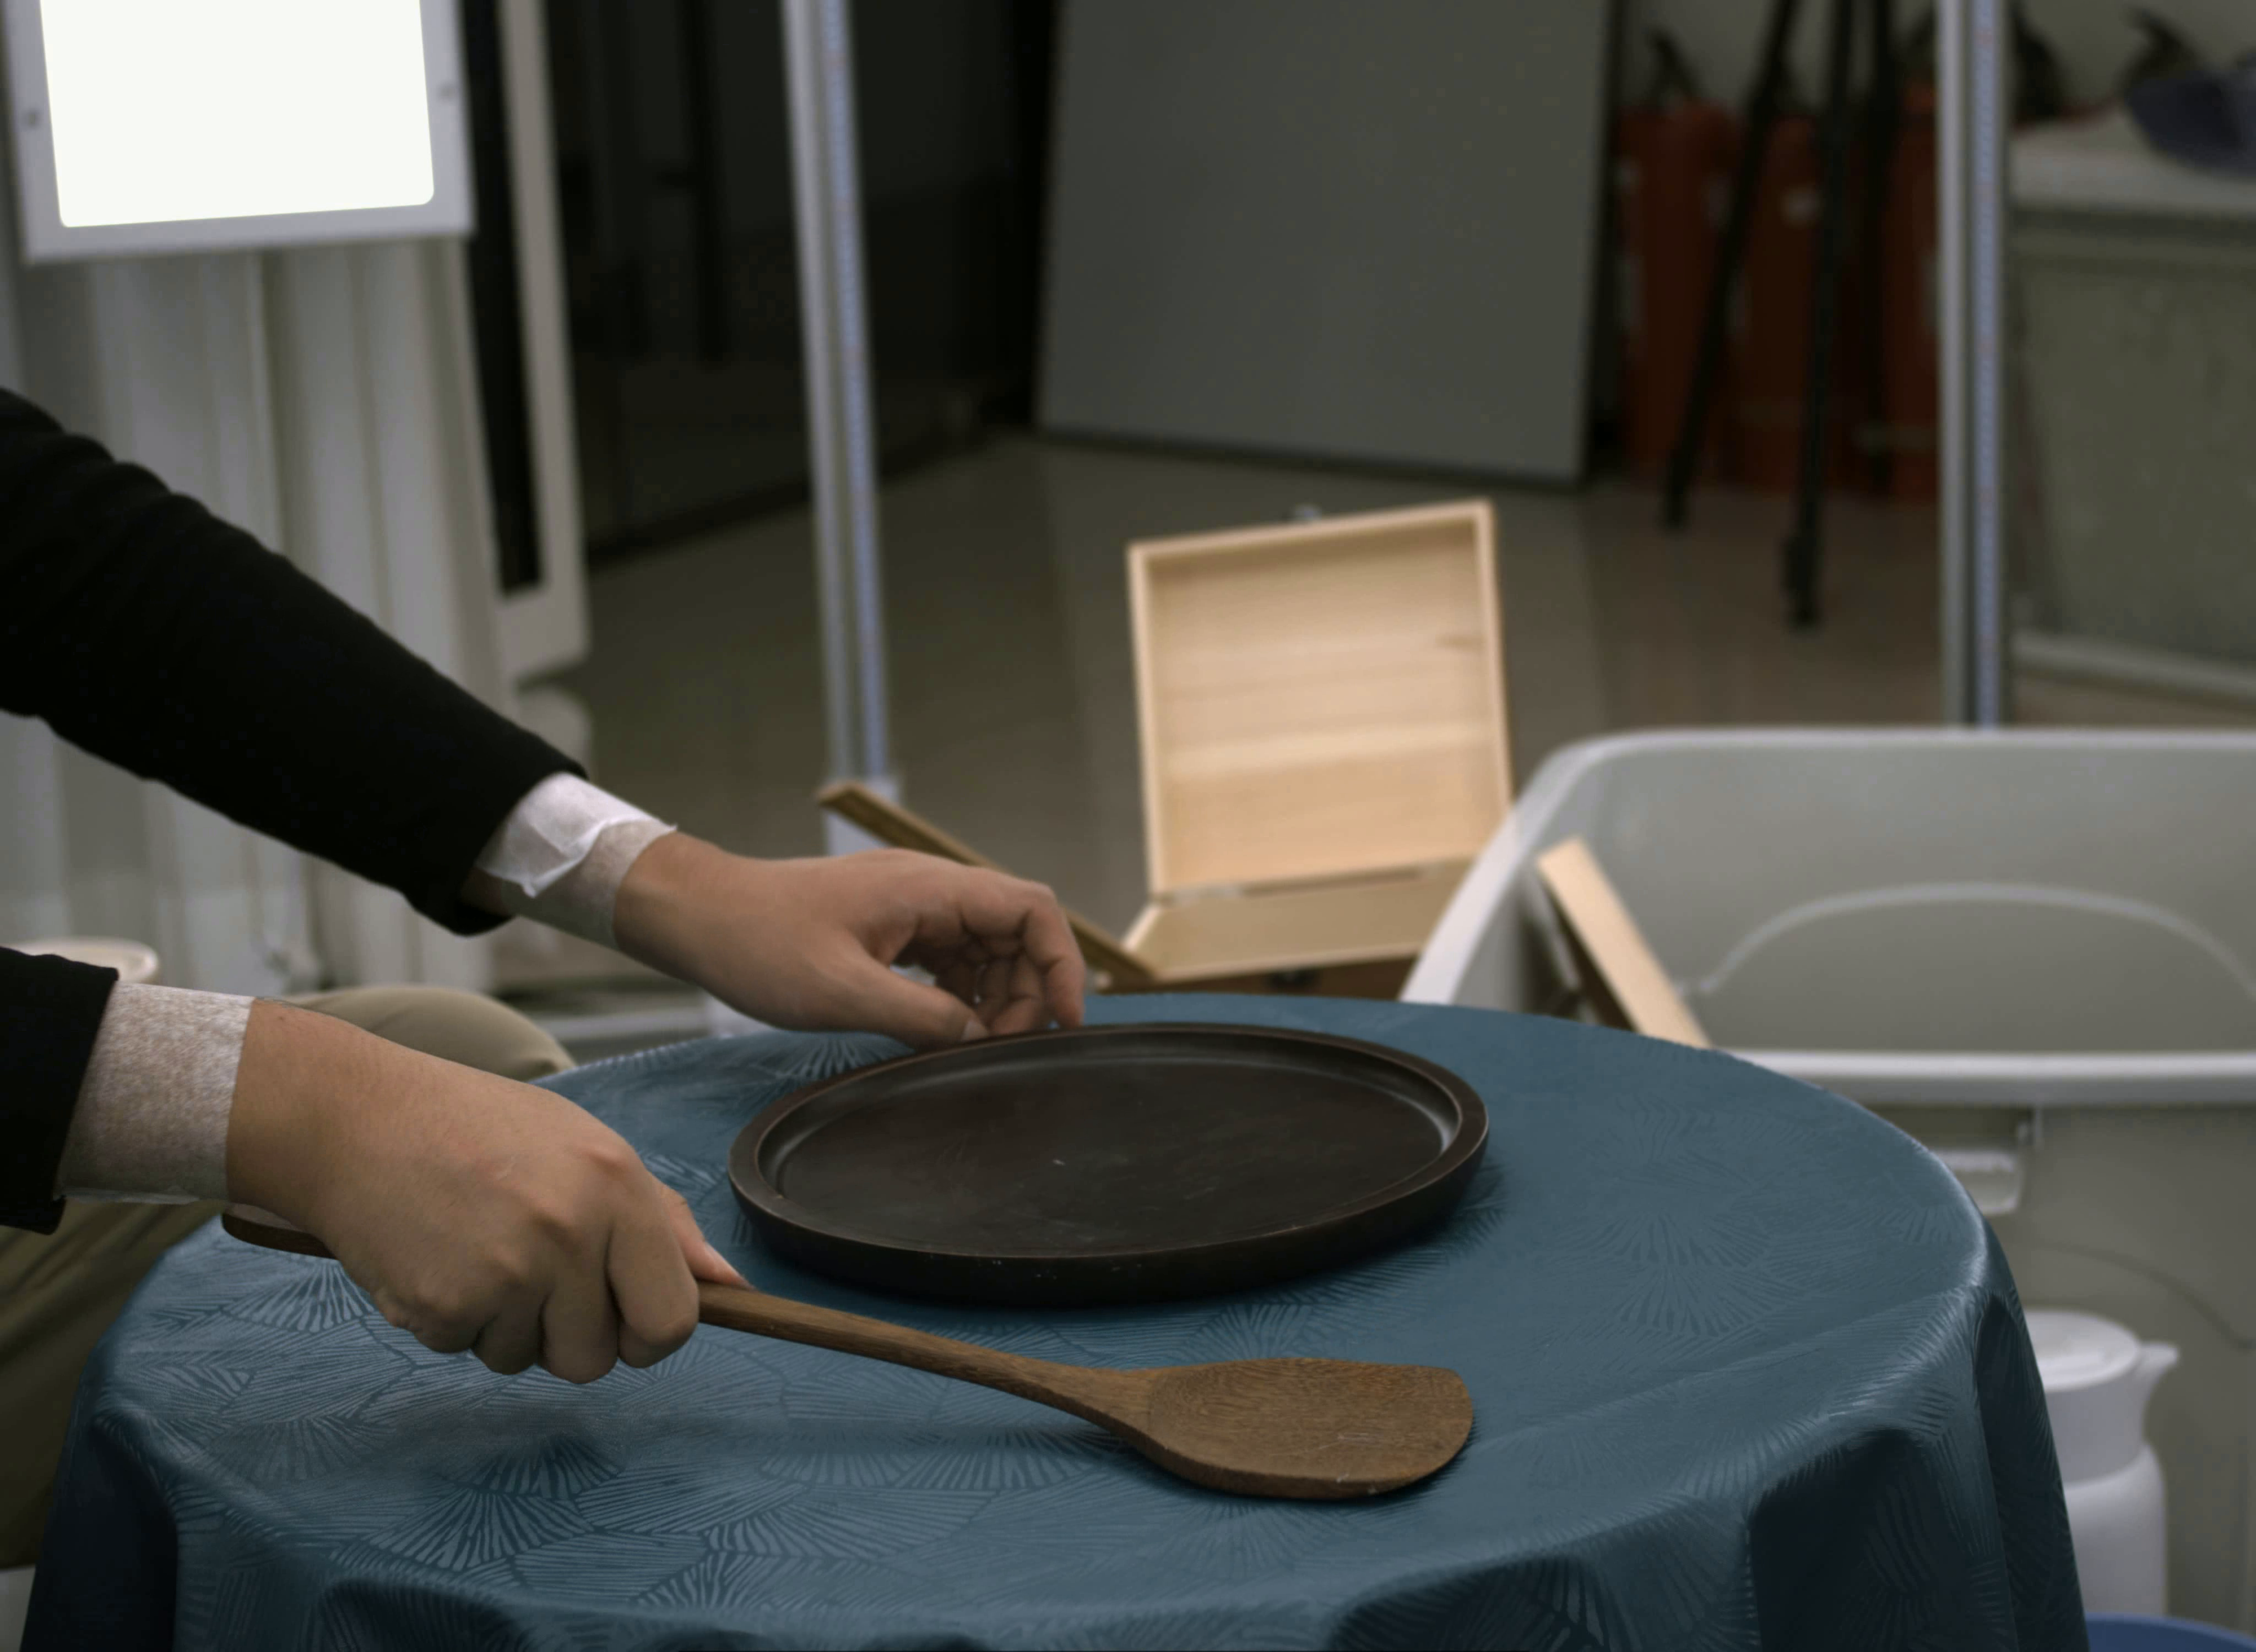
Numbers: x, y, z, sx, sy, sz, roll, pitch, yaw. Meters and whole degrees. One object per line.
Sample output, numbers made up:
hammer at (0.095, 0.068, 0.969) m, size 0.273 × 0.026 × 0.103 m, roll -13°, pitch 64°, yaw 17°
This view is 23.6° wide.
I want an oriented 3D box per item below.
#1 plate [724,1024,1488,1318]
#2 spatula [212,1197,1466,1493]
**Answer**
plate at (-0.007, 0.111, 1.766) m, size 0.251 × 0.029 × 0.255 m, roll -4°, pitch 15°, yaw 0°
spatula at (-0.089, 0.146, 1.567) m, size 0.384 × 0.016 × 0.095 m, roll 10°, pitch 16°, yaw 15°
